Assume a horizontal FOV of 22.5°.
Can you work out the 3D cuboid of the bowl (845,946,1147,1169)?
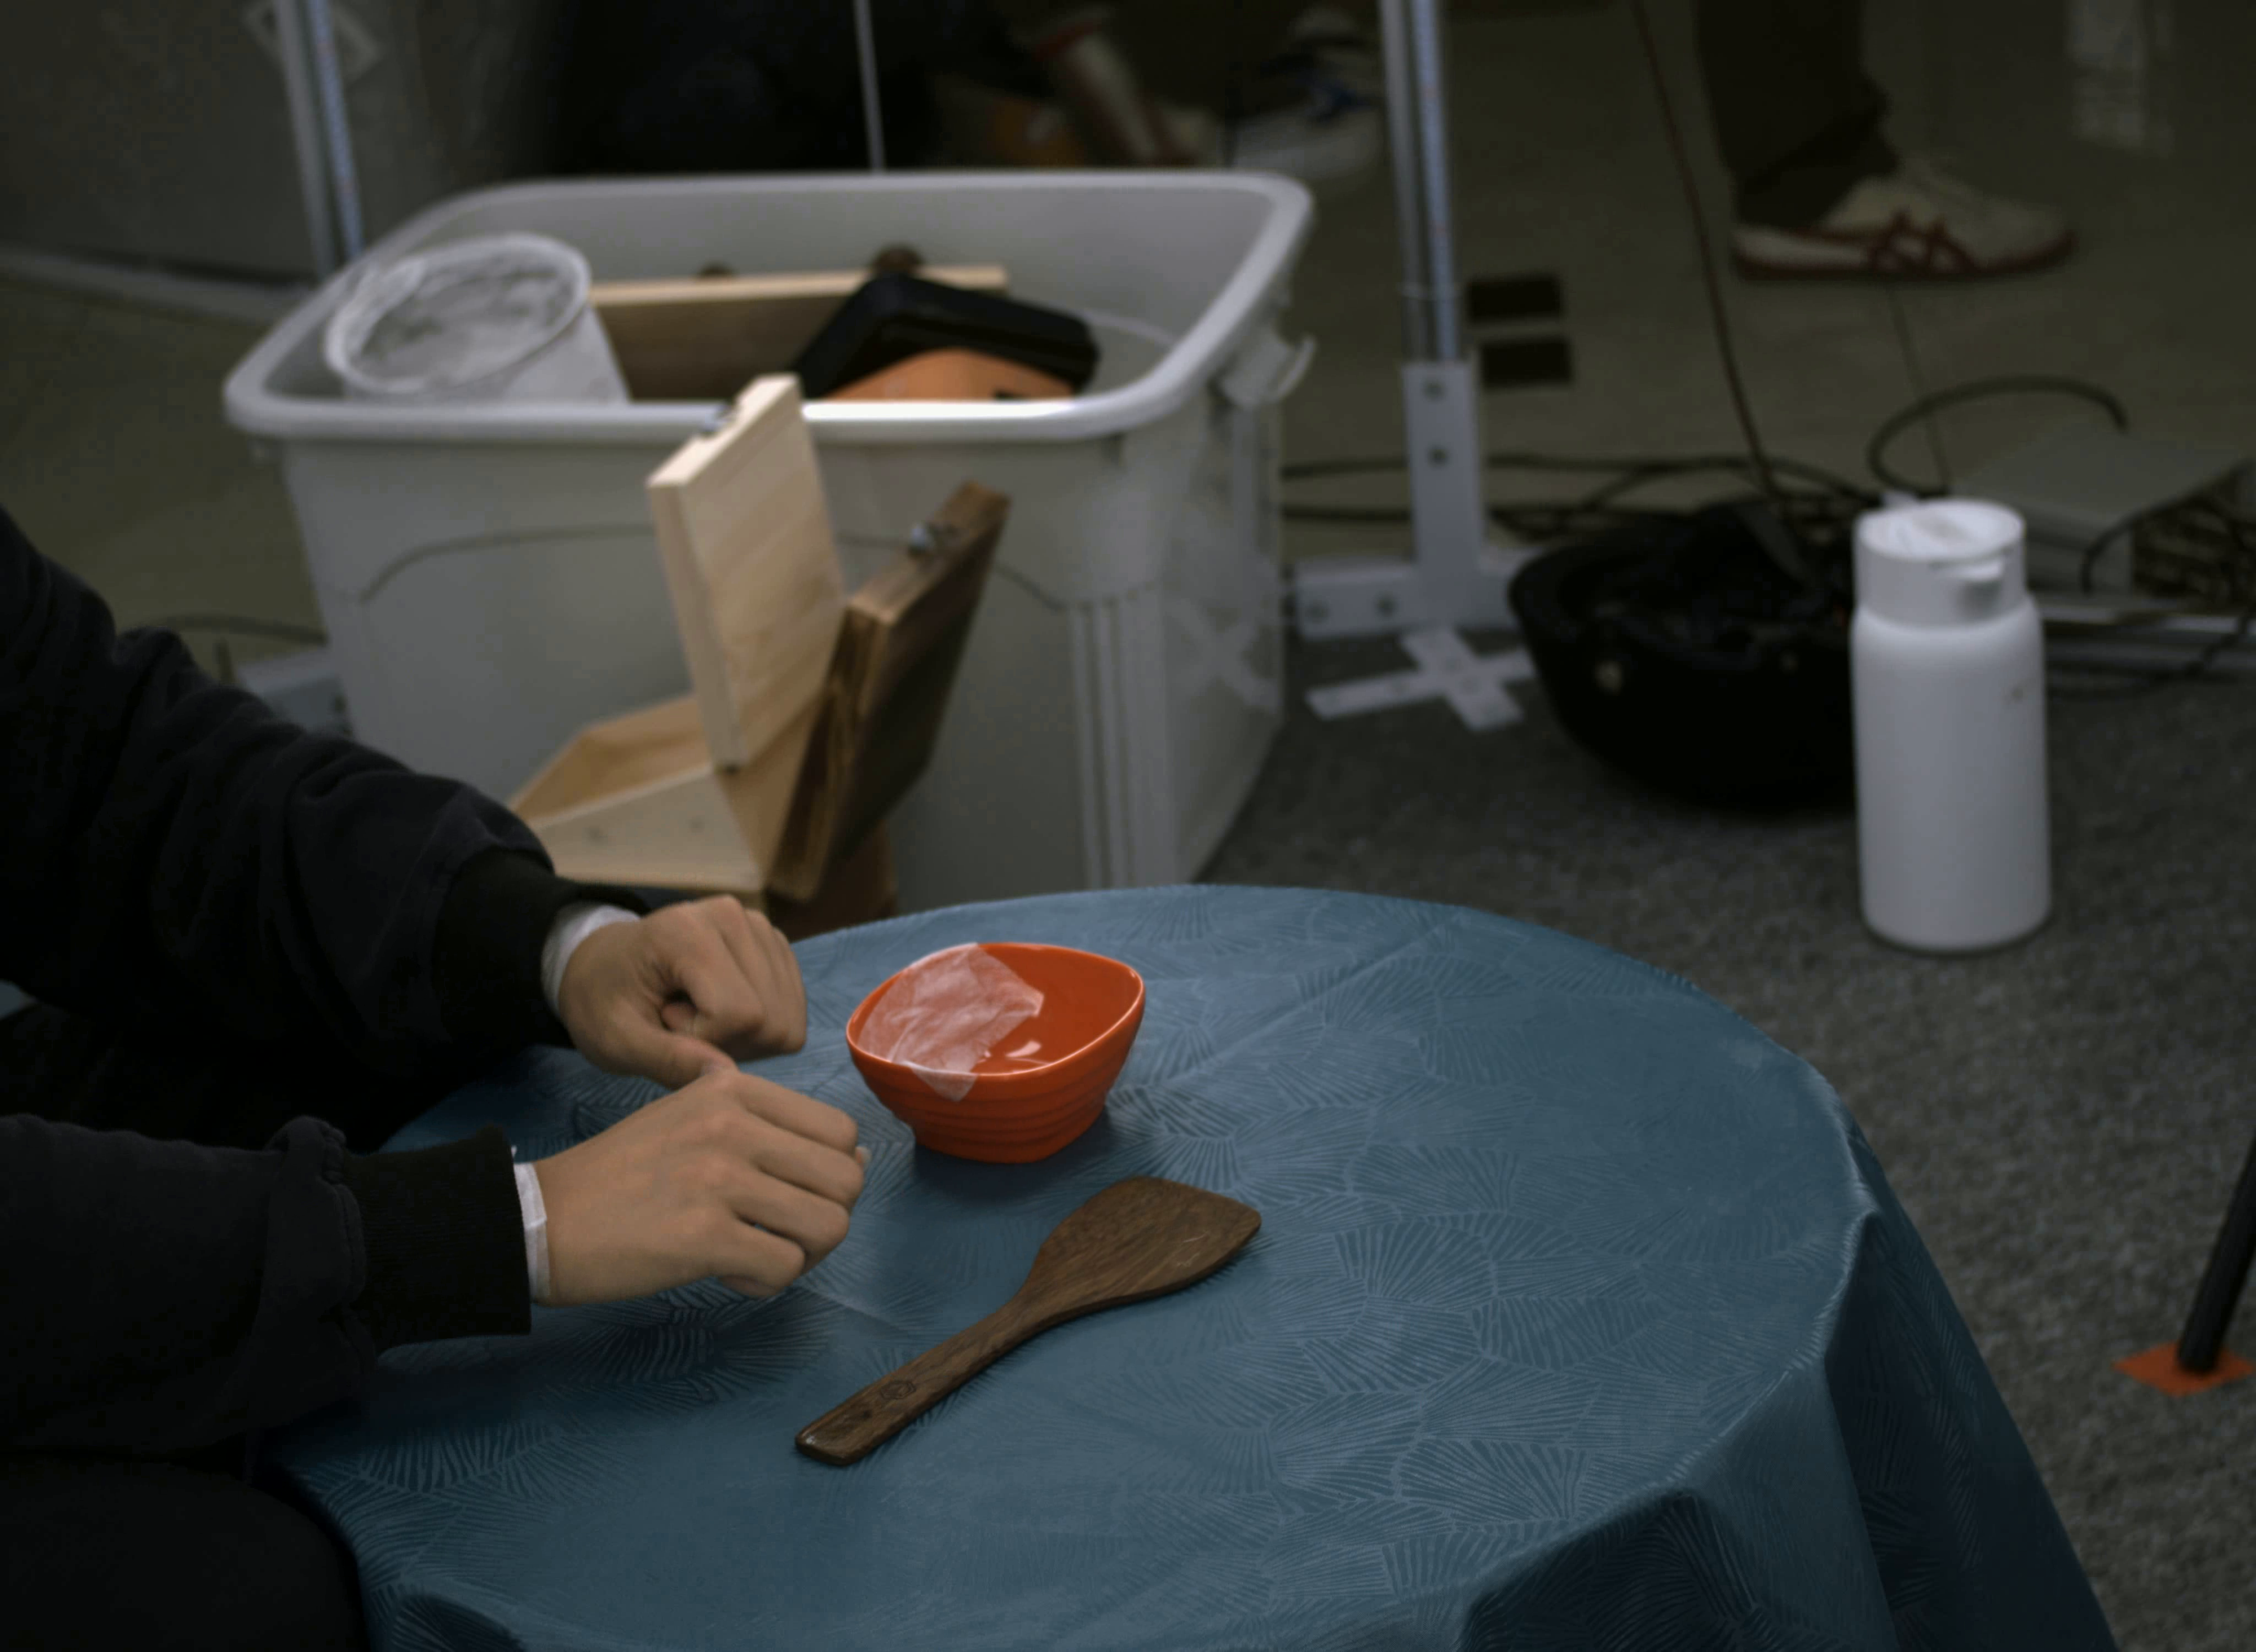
[{"bbox_3d":[-0.049,0.094,2.203,0.119,0.052,0.117,-5,26,2],"label":"bowl"}]

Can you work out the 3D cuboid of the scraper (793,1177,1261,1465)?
[{"bbox_3d":[-0.042,0.181,2.063,0.075,0.011,0.209,16,34,40],"label":"scraper"}]
